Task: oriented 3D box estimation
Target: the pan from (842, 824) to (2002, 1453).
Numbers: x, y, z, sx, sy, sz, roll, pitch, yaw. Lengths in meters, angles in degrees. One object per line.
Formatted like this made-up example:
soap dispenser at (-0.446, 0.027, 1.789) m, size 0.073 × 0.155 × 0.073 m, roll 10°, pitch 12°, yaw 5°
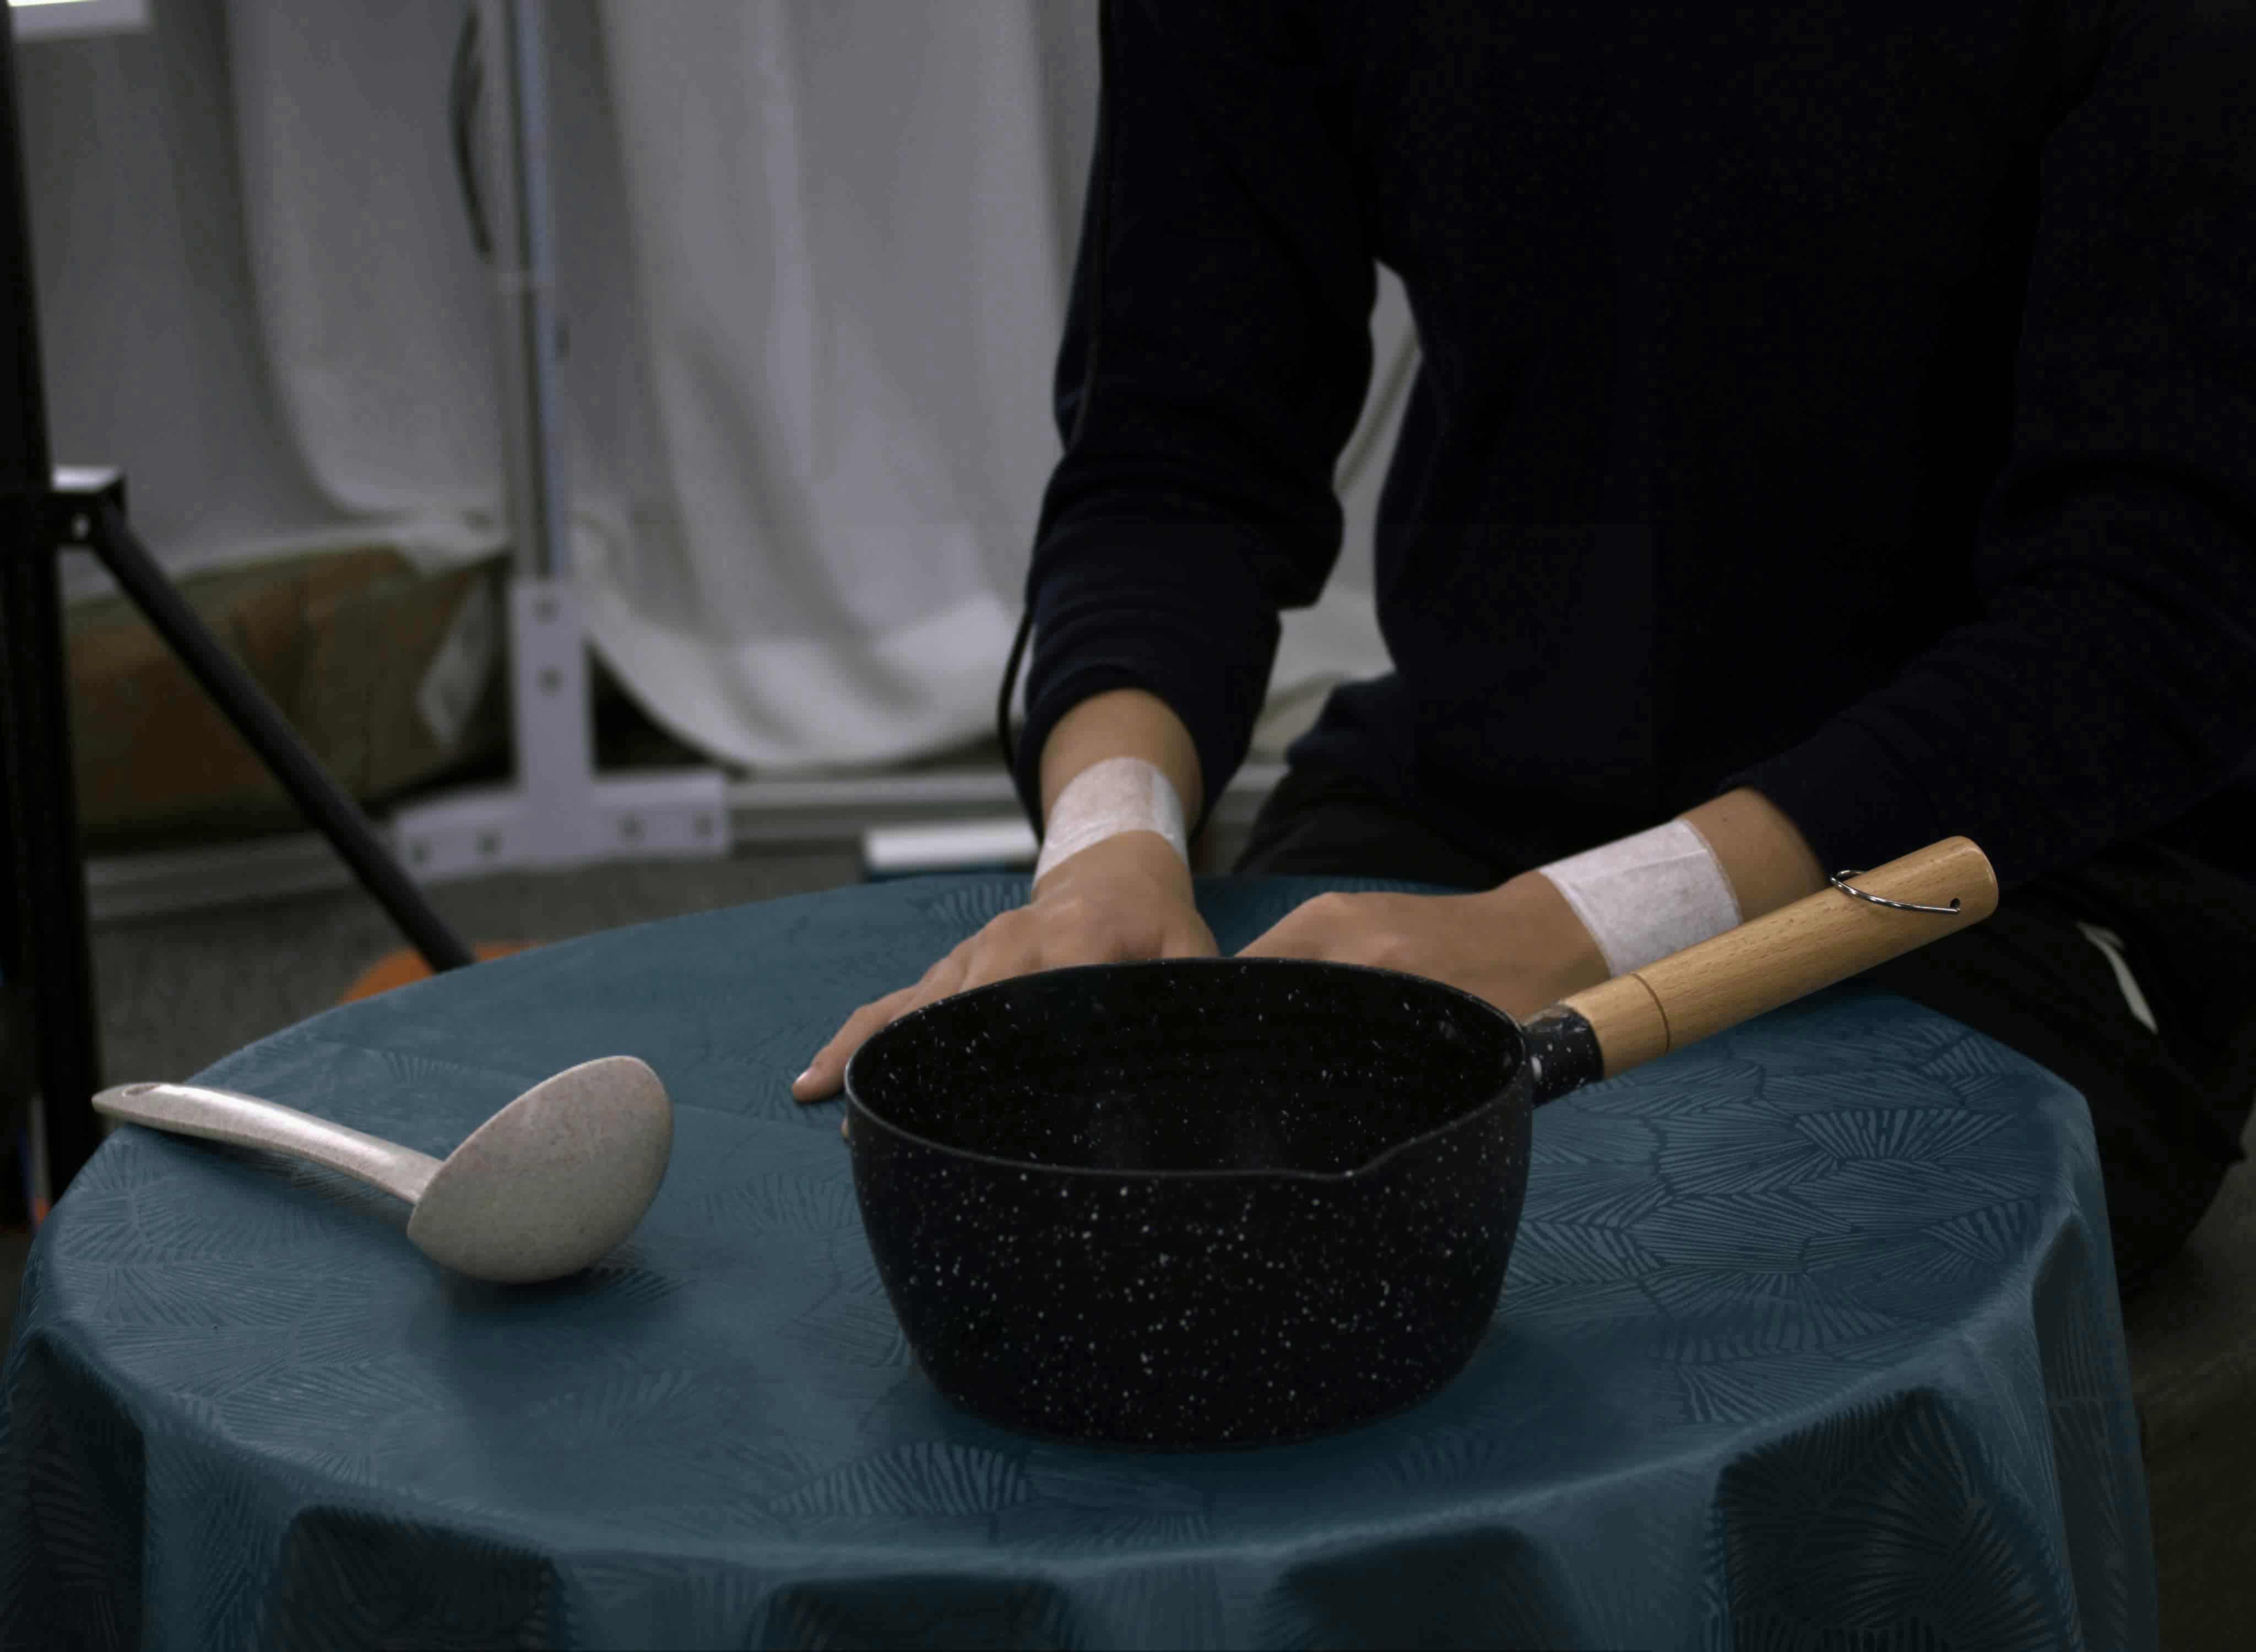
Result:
pan at (0.089, 0.079, 1.447) m, size 0.336 × 0.108 × 0.211 m, roll -11°, pitch 16°, yaw -21°

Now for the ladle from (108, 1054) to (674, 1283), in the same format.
ladle at (-0.235, 0.079, 1.588) m, size 0.087 × 0.069 × 0.281 m, roll -25°, pitch 24°, yaw -34°
